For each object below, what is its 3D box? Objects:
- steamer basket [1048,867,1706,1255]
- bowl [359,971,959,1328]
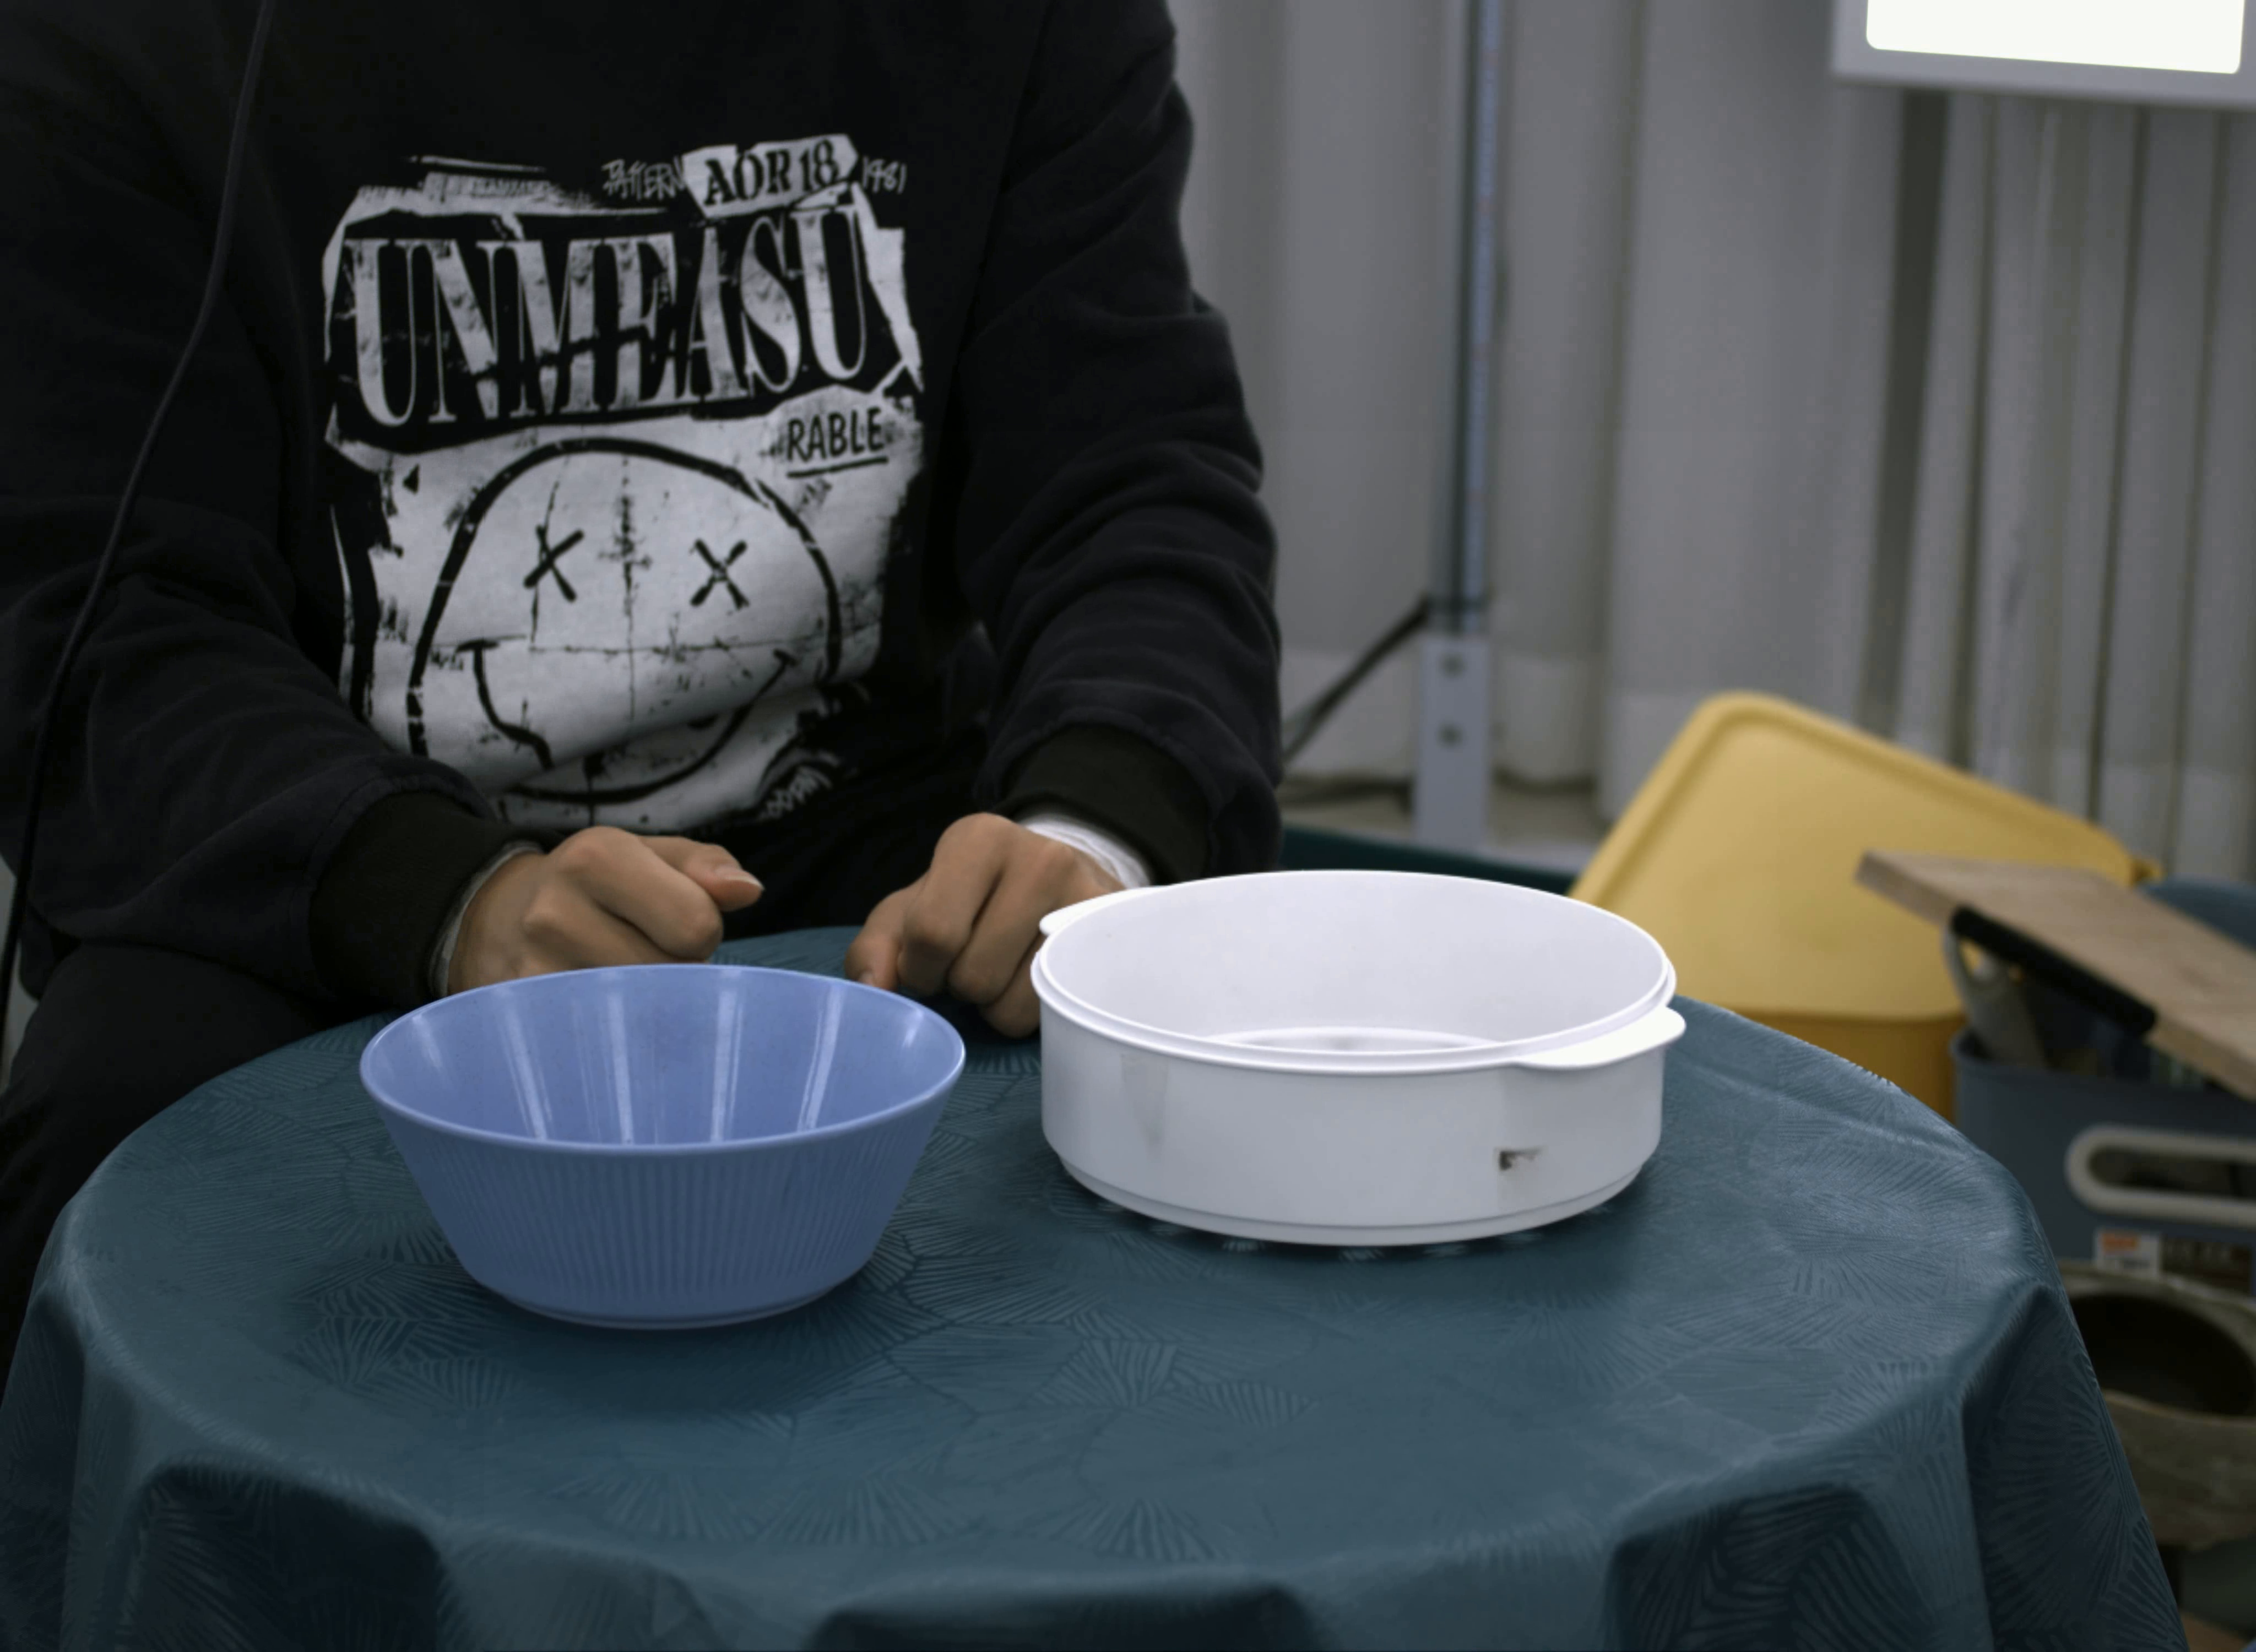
[{"bbox_3d":[0.074,0.073,1.644,0.227,0.070,0.203,17,22,39],"label":"steamer basket"},{"bbox_3d":[-0.137,0.097,1.546,0.175,0.071,0.175,1,15,0],"label":"bowl"}]
